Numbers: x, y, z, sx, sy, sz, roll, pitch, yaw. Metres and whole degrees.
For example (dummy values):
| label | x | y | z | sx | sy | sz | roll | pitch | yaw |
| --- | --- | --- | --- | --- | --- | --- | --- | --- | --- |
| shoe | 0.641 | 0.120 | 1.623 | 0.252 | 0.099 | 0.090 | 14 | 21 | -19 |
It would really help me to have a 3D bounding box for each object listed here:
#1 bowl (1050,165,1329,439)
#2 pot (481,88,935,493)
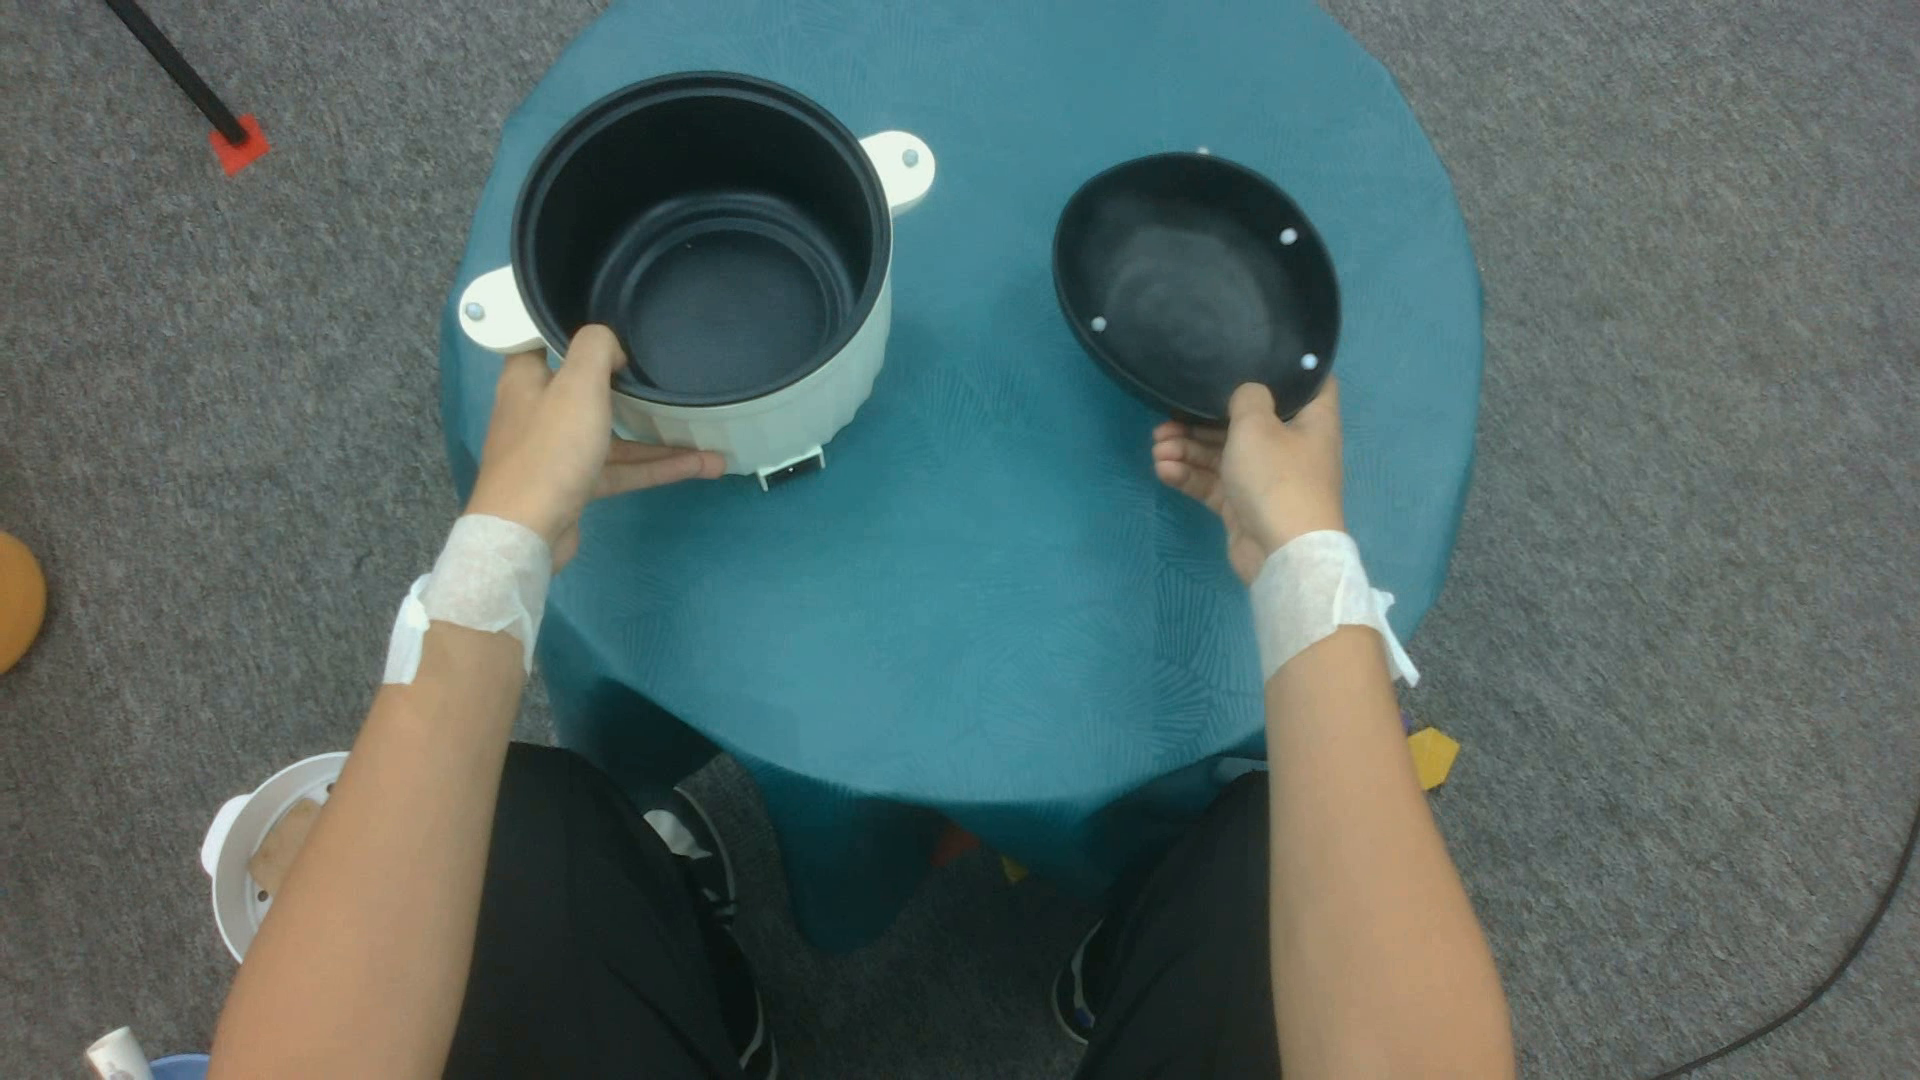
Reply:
| label | x | y | z | sx | sy | sz | roll | pitch | yaw |
| --- | --- | --- | --- | --- | --- | --- | --- | --- | --- |
| bowl | 0.124 | -0.124 | 0.759 | 0.137 | 0.066 | 0.170 | -38 | 75 | -10 |
| pot | -0.127 | -0.131 | 0.744 | 0.241 | 0.142 | 0.191 | -24 | 78 | -9 |
